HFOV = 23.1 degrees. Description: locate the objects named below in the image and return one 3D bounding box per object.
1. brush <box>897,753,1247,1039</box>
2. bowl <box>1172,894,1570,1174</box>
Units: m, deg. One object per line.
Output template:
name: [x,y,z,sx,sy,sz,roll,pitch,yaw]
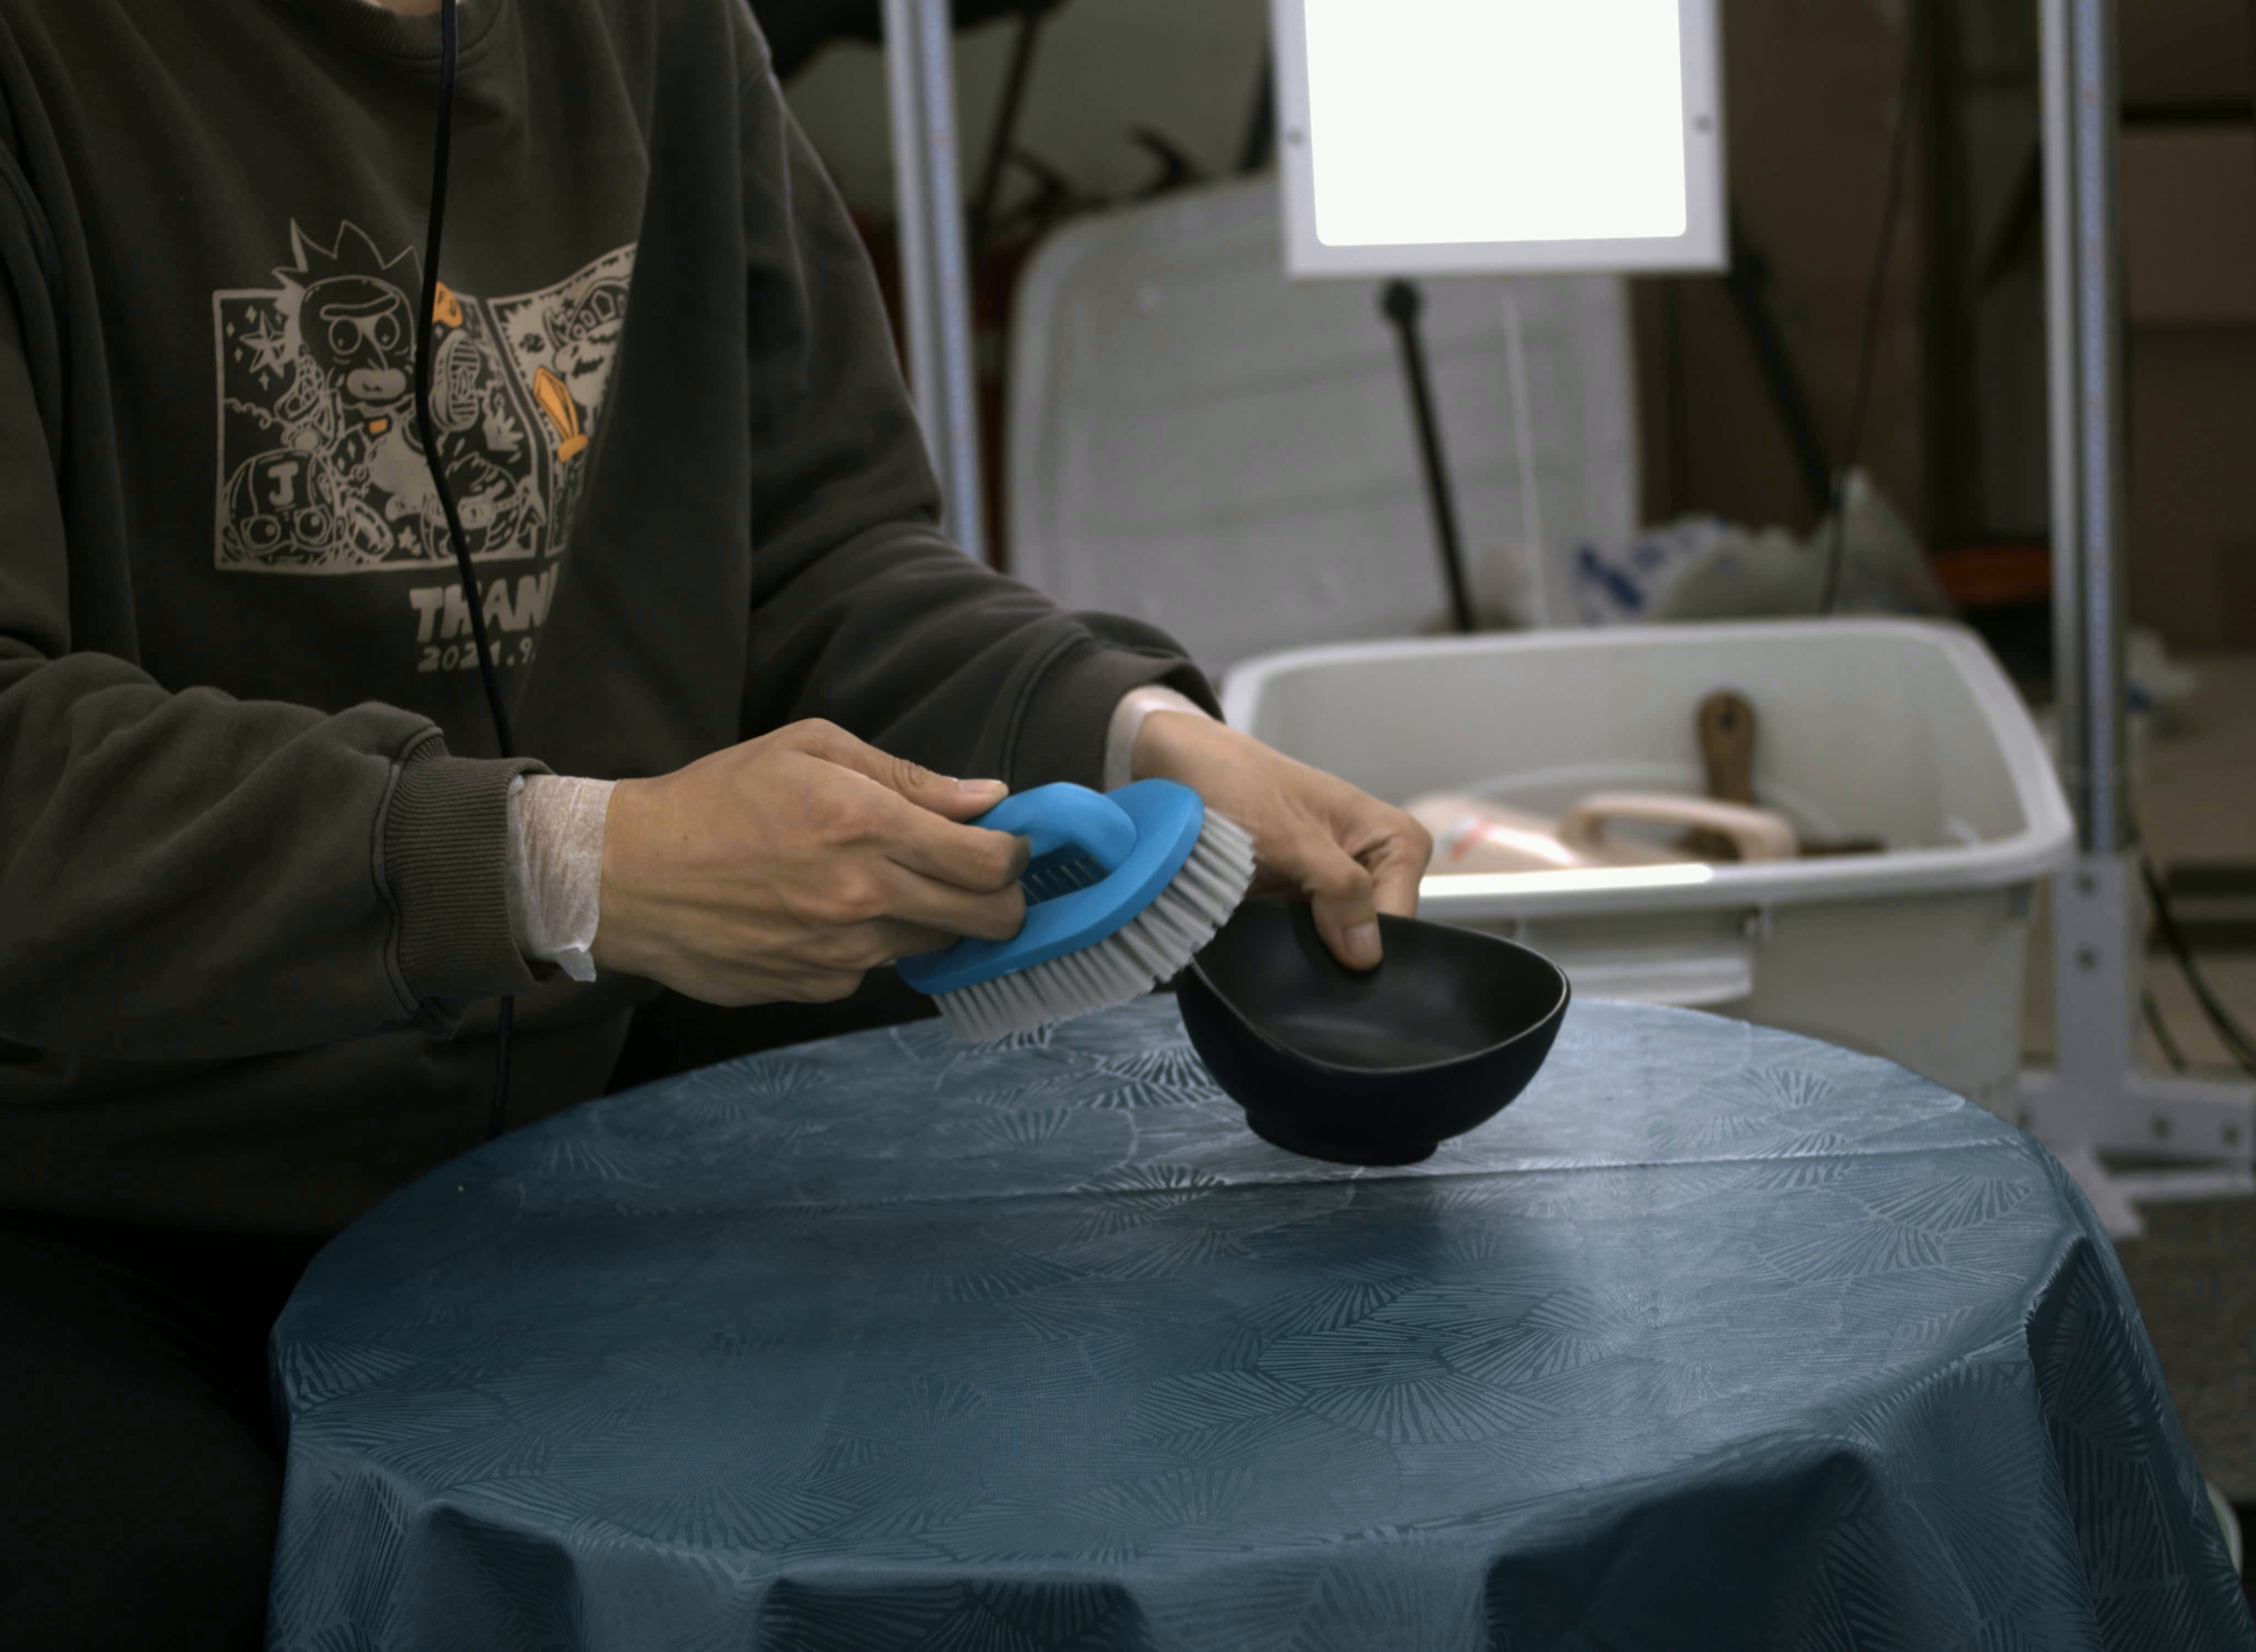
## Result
brush: [-0.030,0.015,1.809,0.145,0.063,0.083,-16,39,49]
bowl: [0.080,0.077,1.884,0.137,0.067,0.169,8,17,4]
